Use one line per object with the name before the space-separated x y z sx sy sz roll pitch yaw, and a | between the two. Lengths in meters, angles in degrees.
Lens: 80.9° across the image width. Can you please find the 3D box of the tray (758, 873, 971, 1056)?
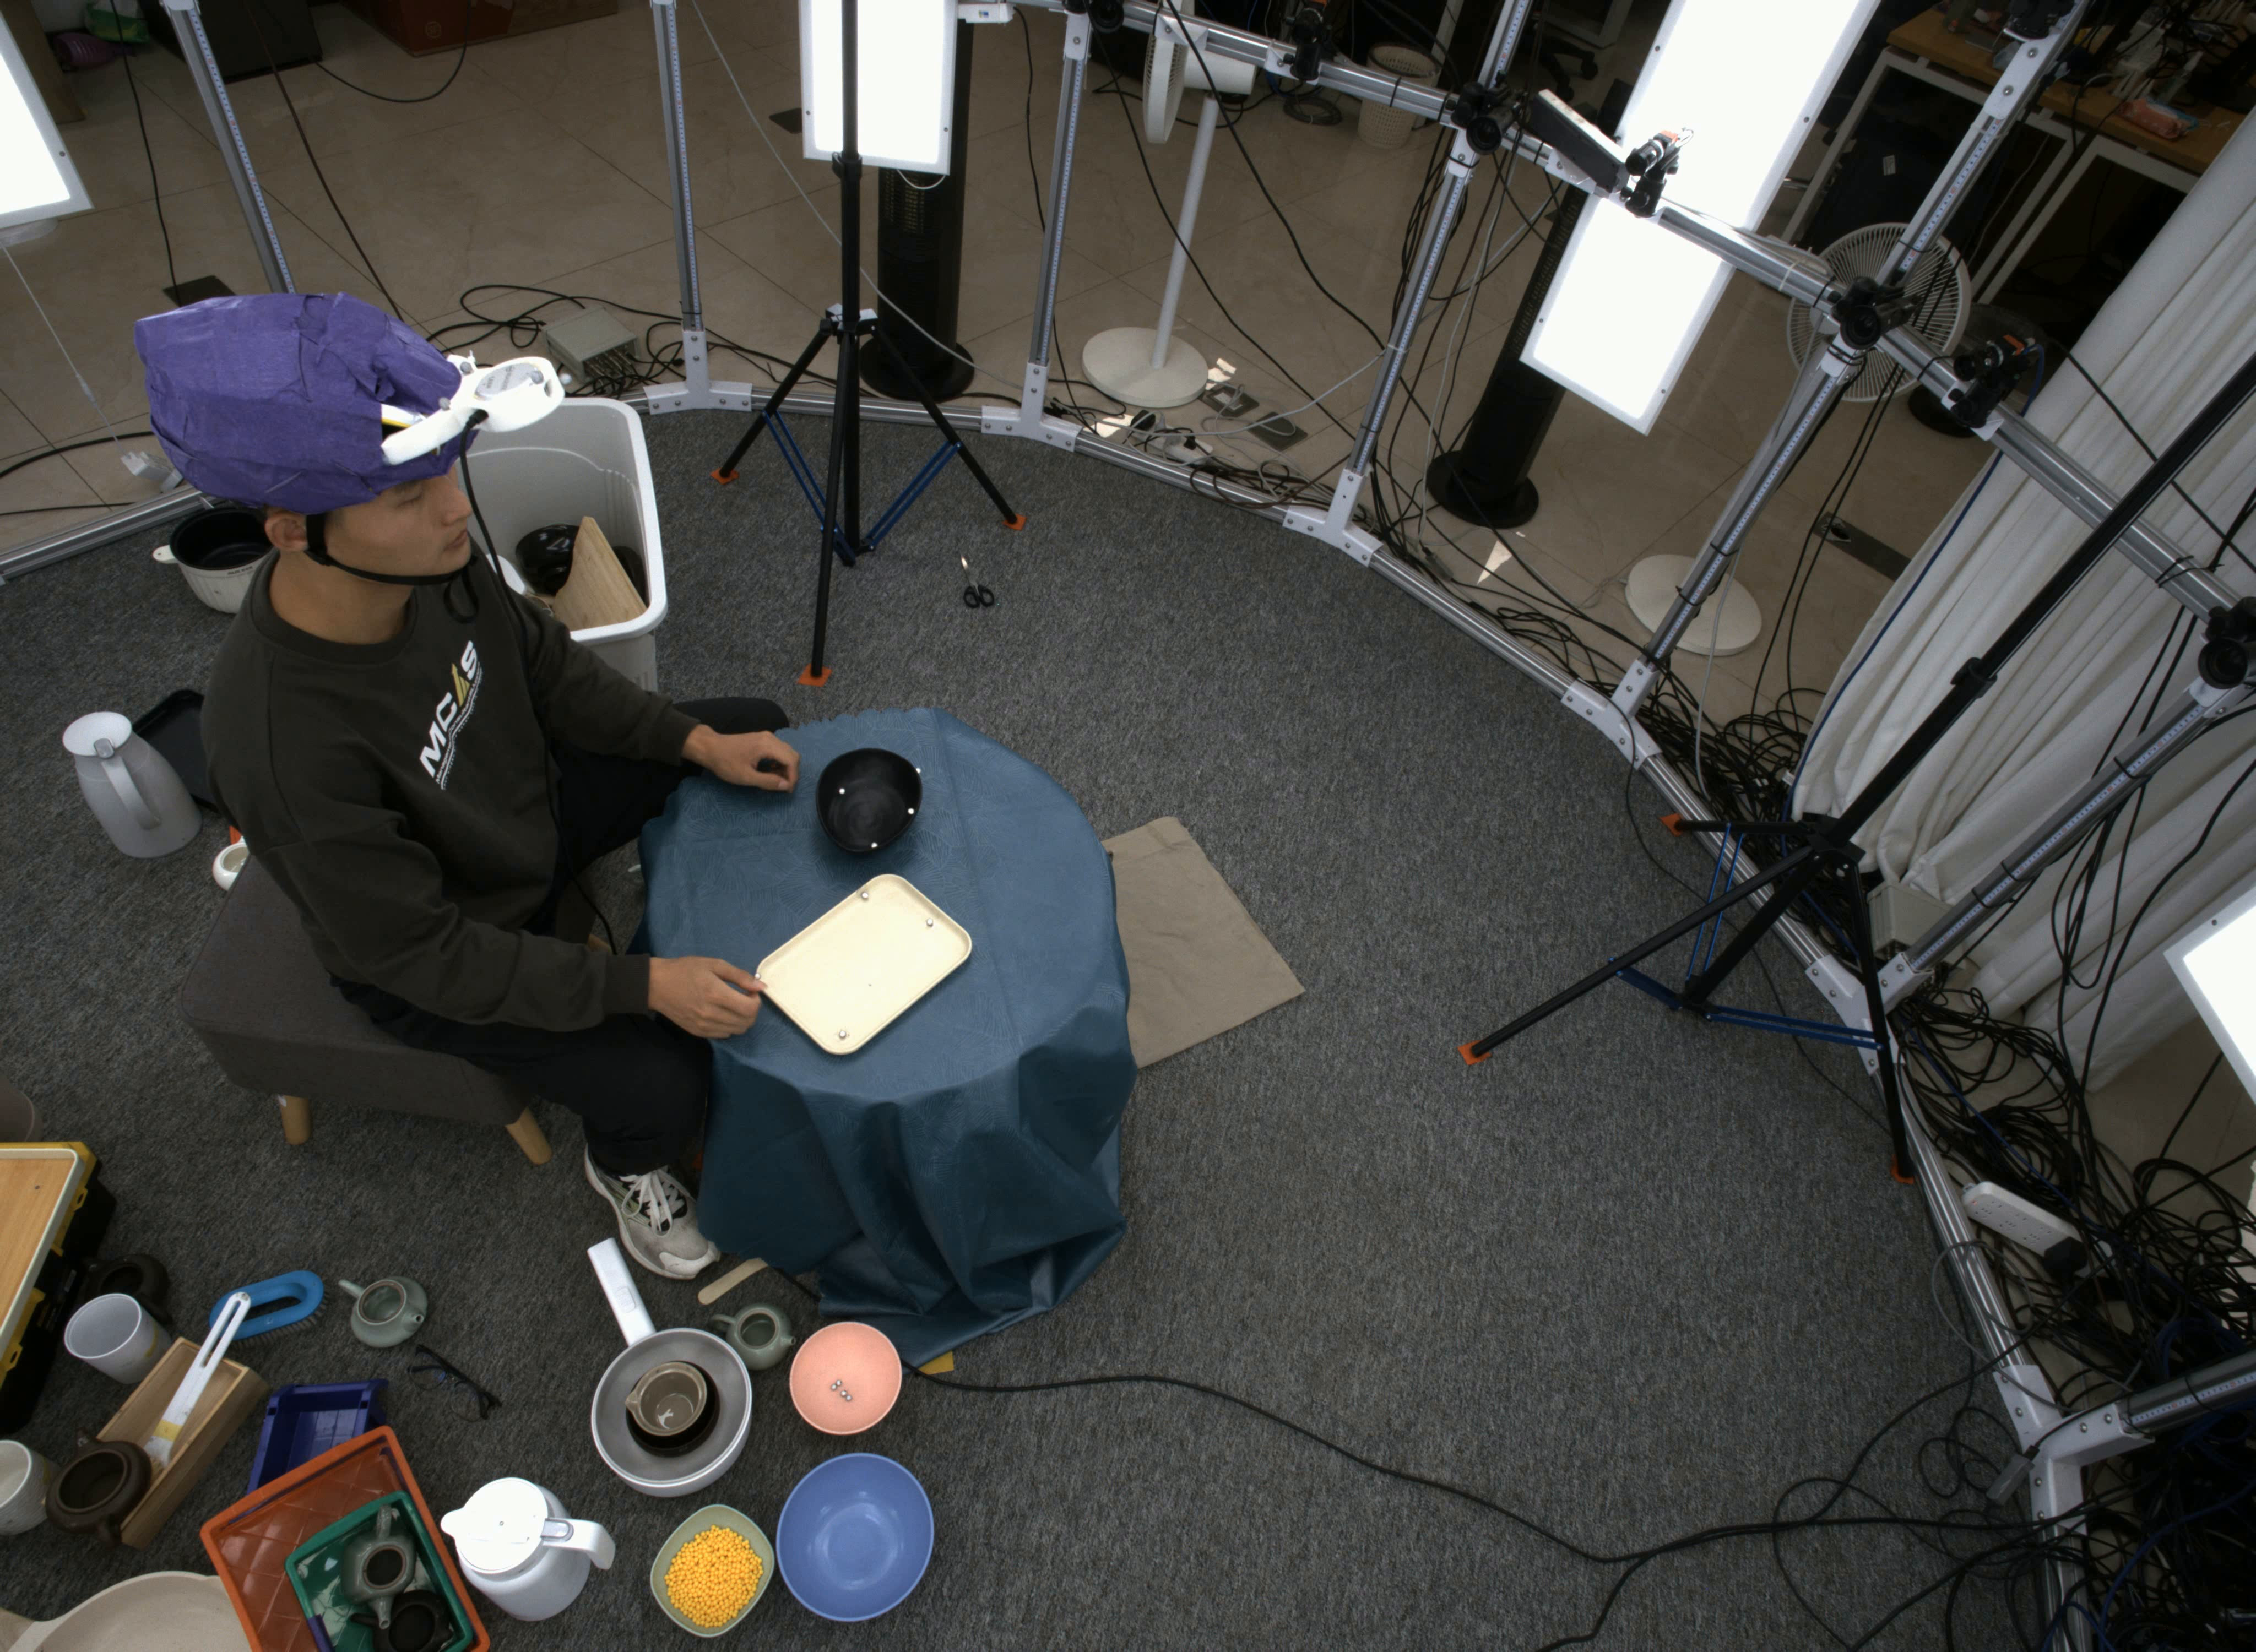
tray | -0.325 0.168 1.622 0.167 0.018 0.240 39 55 15

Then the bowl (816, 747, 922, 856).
bowl | -0.344 -0.023 1.732 0.136 0.068 0.167 8 54 -5
